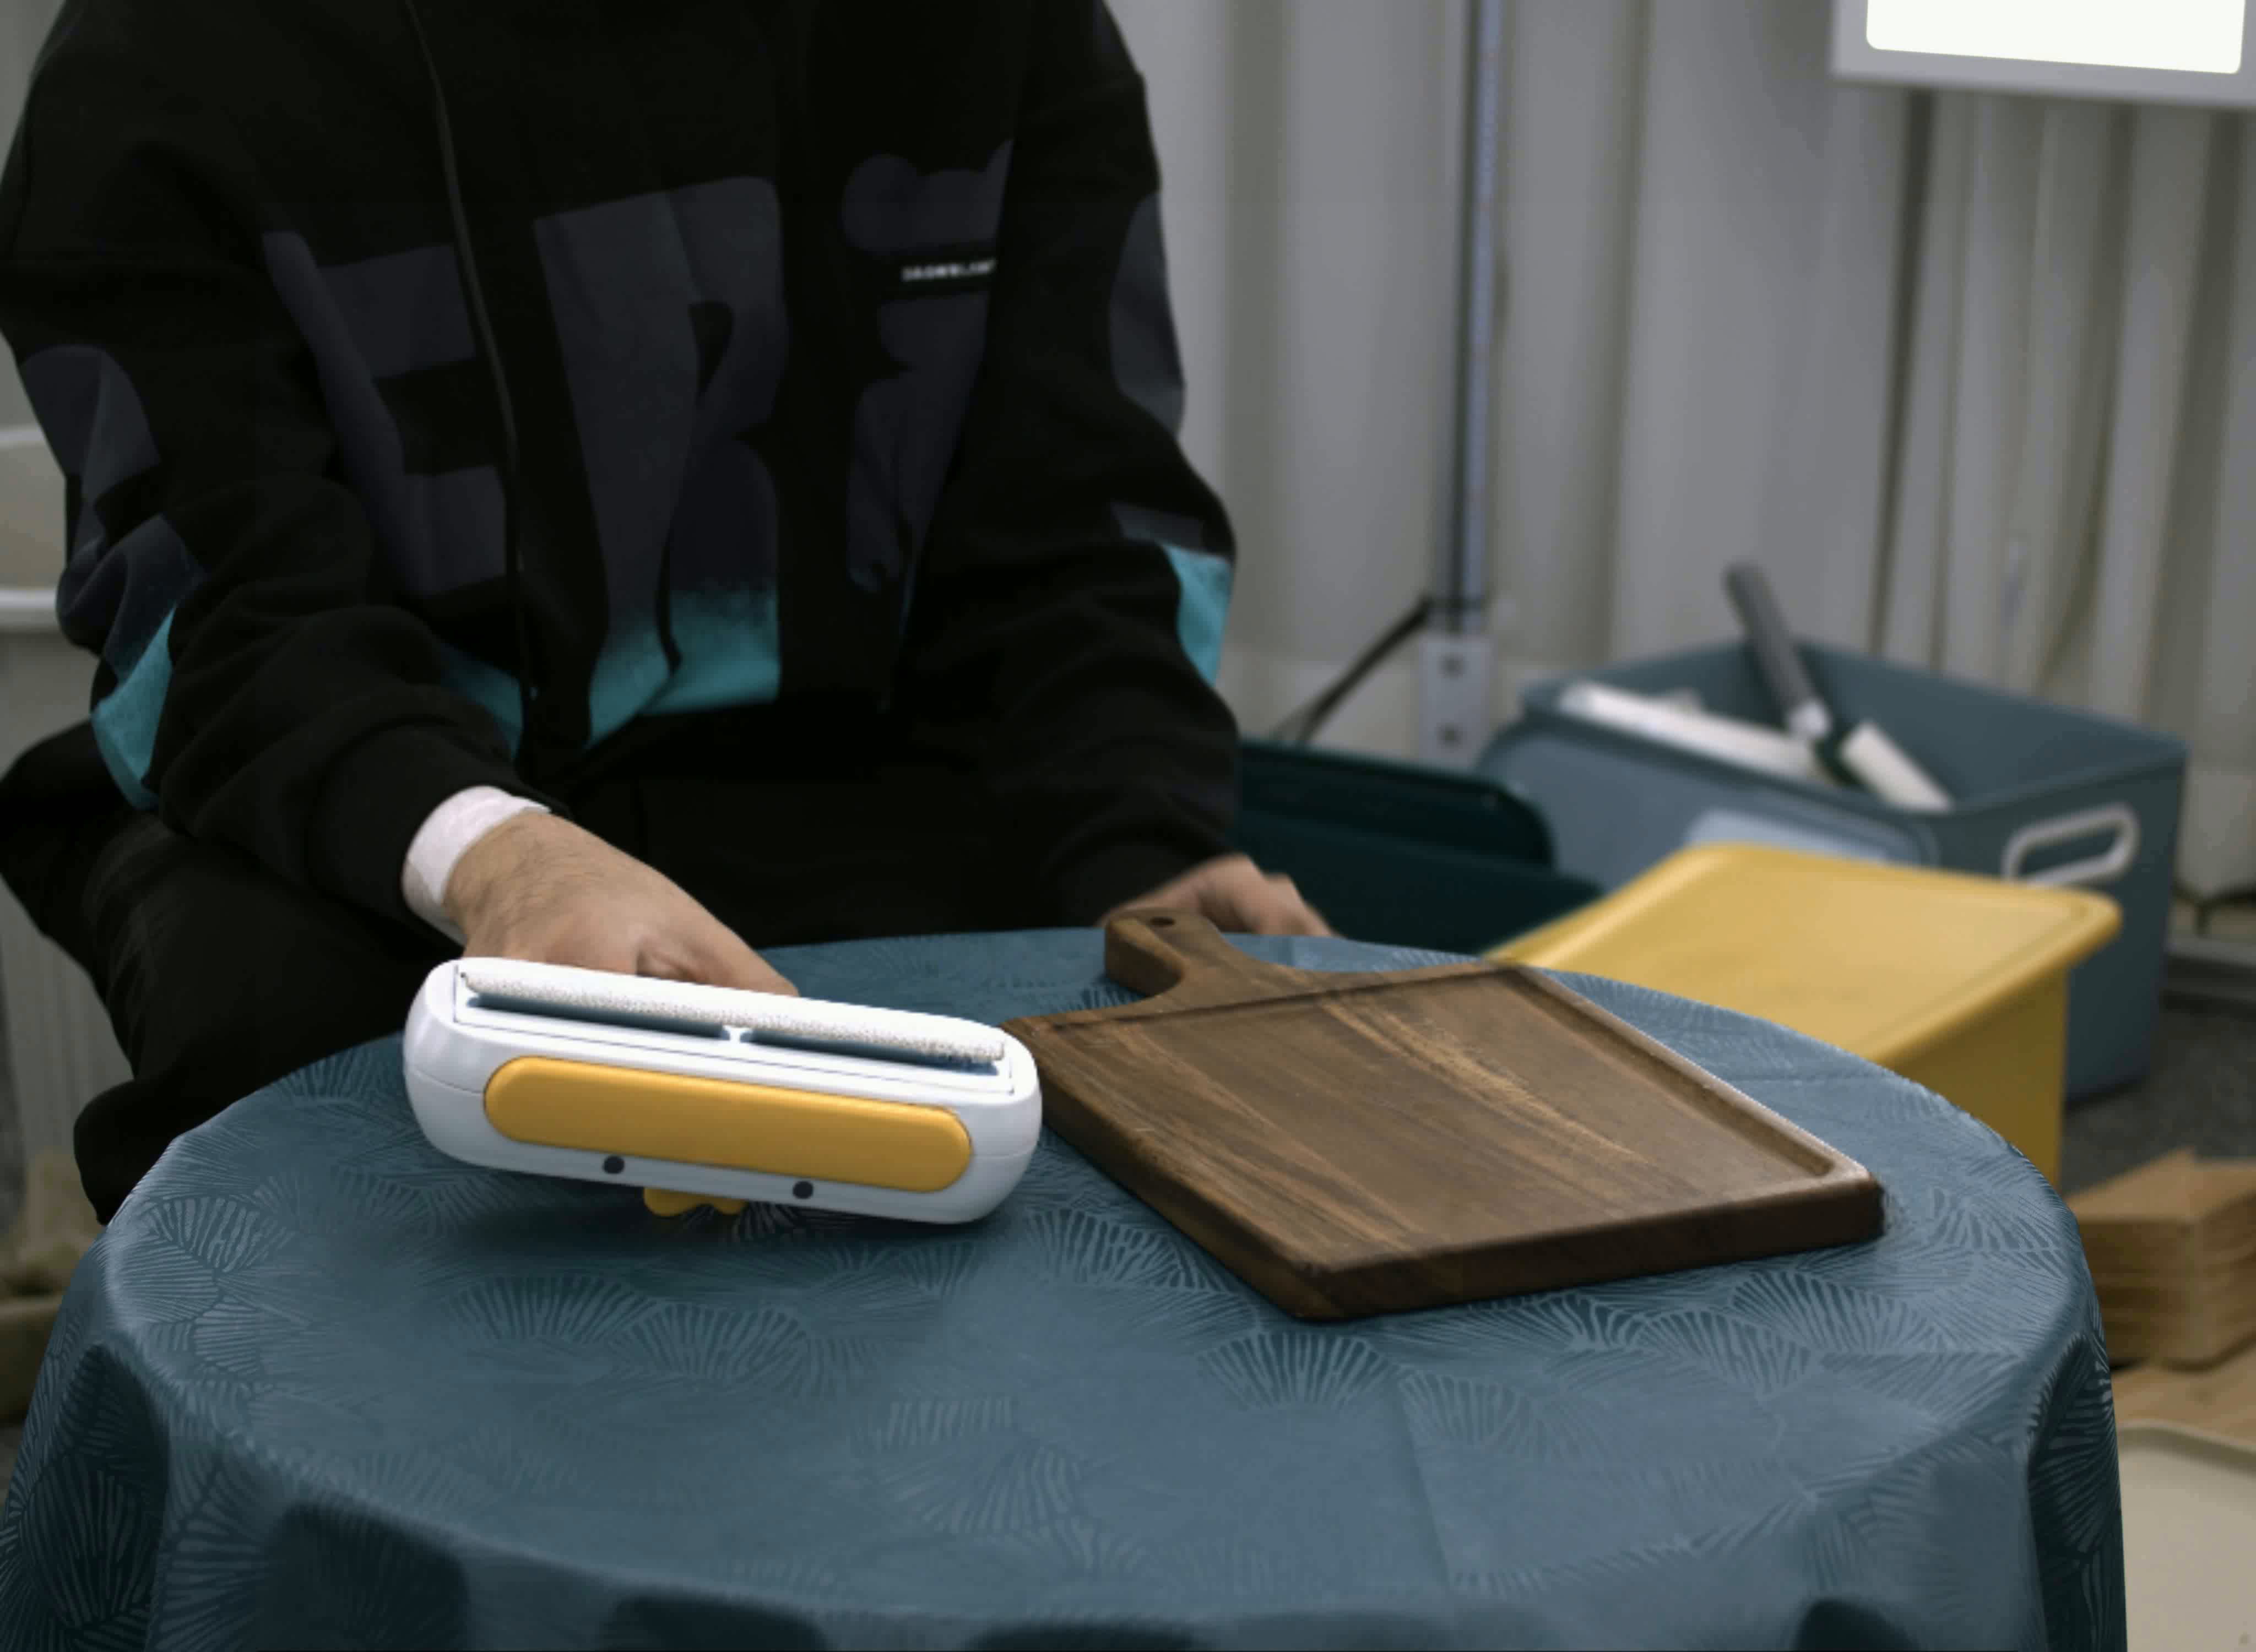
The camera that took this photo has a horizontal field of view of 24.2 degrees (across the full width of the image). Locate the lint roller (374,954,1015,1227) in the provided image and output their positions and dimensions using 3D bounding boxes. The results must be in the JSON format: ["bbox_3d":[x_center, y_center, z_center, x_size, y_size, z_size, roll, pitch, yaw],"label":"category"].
[{"bbox_3d":[-0.134,0.072,1.636,0.192,0.075,0.191,5,13,-6],"label":"lint roller"}]

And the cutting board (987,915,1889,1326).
[{"bbox_3d":[0.072,0.083,1.692,0.202,0.023,0.348,-7,17,-23],"label":"cutting board"}]
